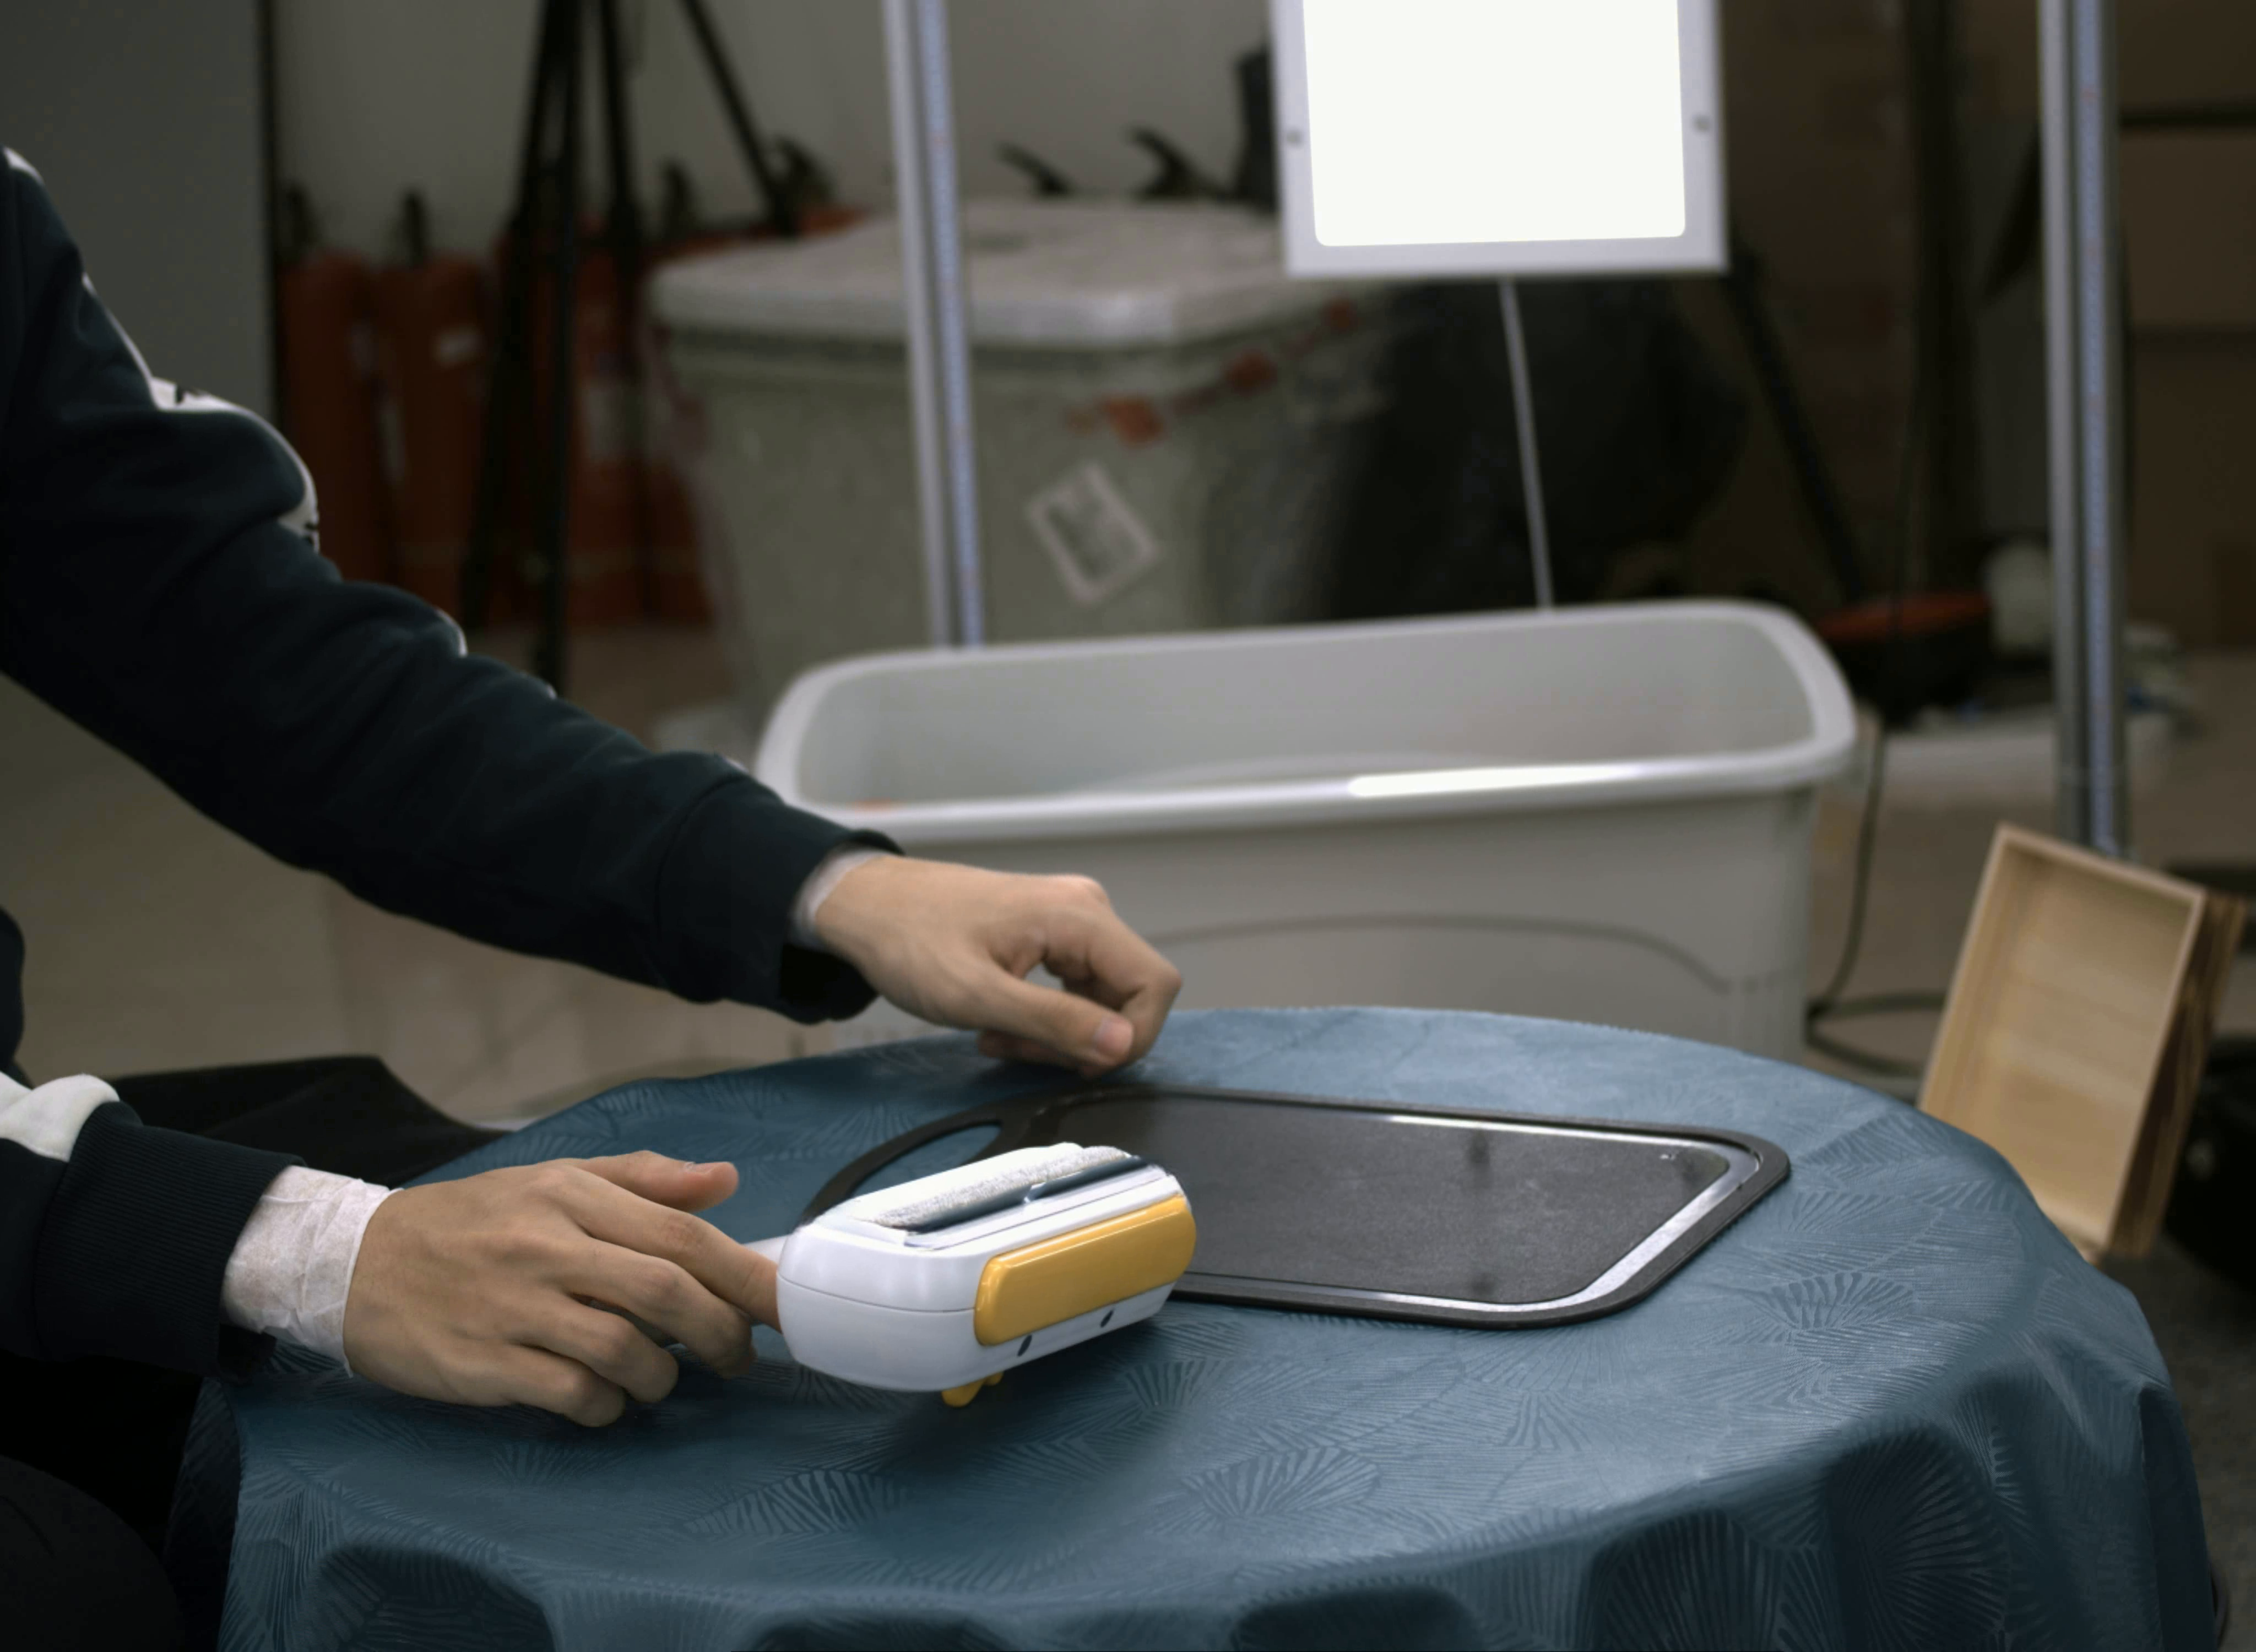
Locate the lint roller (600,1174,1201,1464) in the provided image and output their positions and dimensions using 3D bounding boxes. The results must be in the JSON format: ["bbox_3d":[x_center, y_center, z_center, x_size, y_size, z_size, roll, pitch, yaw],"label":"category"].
[{"bbox_3d":[-0.091,0.160,1.730,0.196,0.074,0.188,-13,1,34],"label":"lint roller"}]

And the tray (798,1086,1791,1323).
[{"bbox_3d":[0.049,0.125,1.871,0.331,0.010,0.206,3,16,30],"label":"tray"}]
